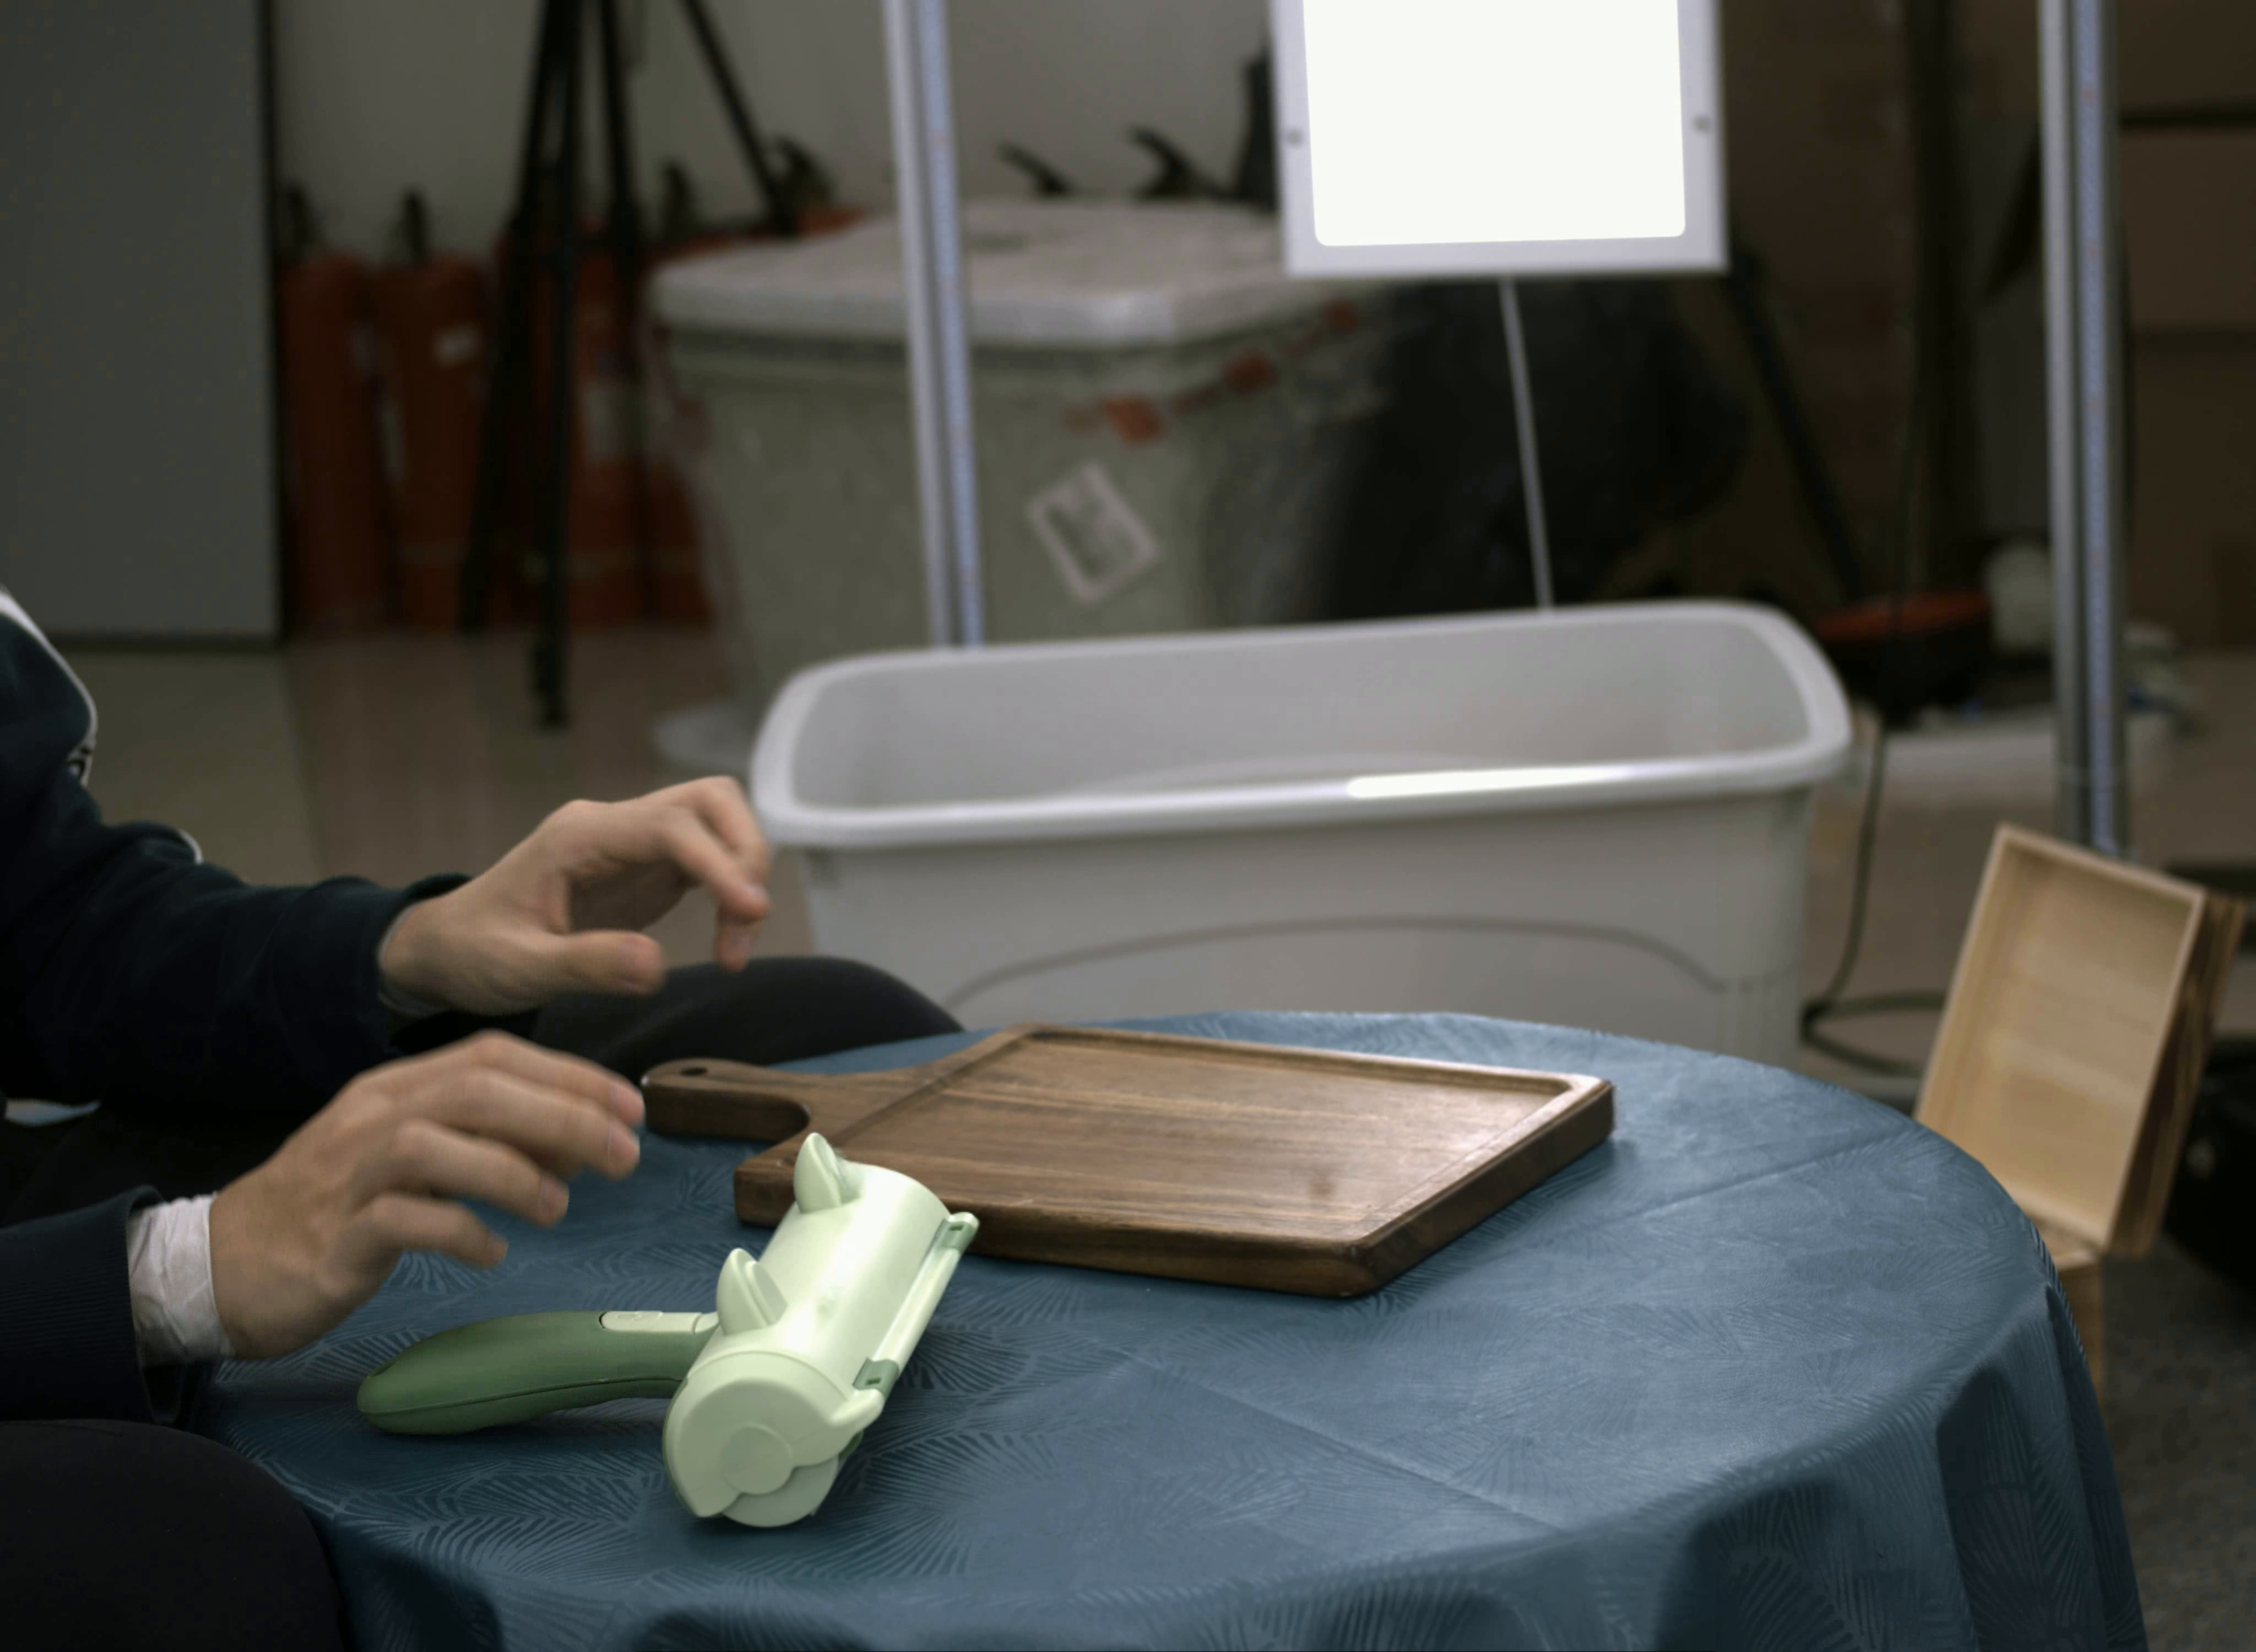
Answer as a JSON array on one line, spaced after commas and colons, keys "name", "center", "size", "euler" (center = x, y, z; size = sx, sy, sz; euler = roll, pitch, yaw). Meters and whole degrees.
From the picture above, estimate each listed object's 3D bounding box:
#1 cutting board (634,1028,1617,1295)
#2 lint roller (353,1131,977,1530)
[{"name": "cutting board", "center": [-0.024, 0.110, 1.929], "size": [0.359, 0.023, 0.196], "euler": [3, 16, 32]}, {"name": "lint roller", "center": [-0.151, 0.149, 1.698], "size": [0.184, 0.082, 0.196], "euler": [2, 15, 9]}]
